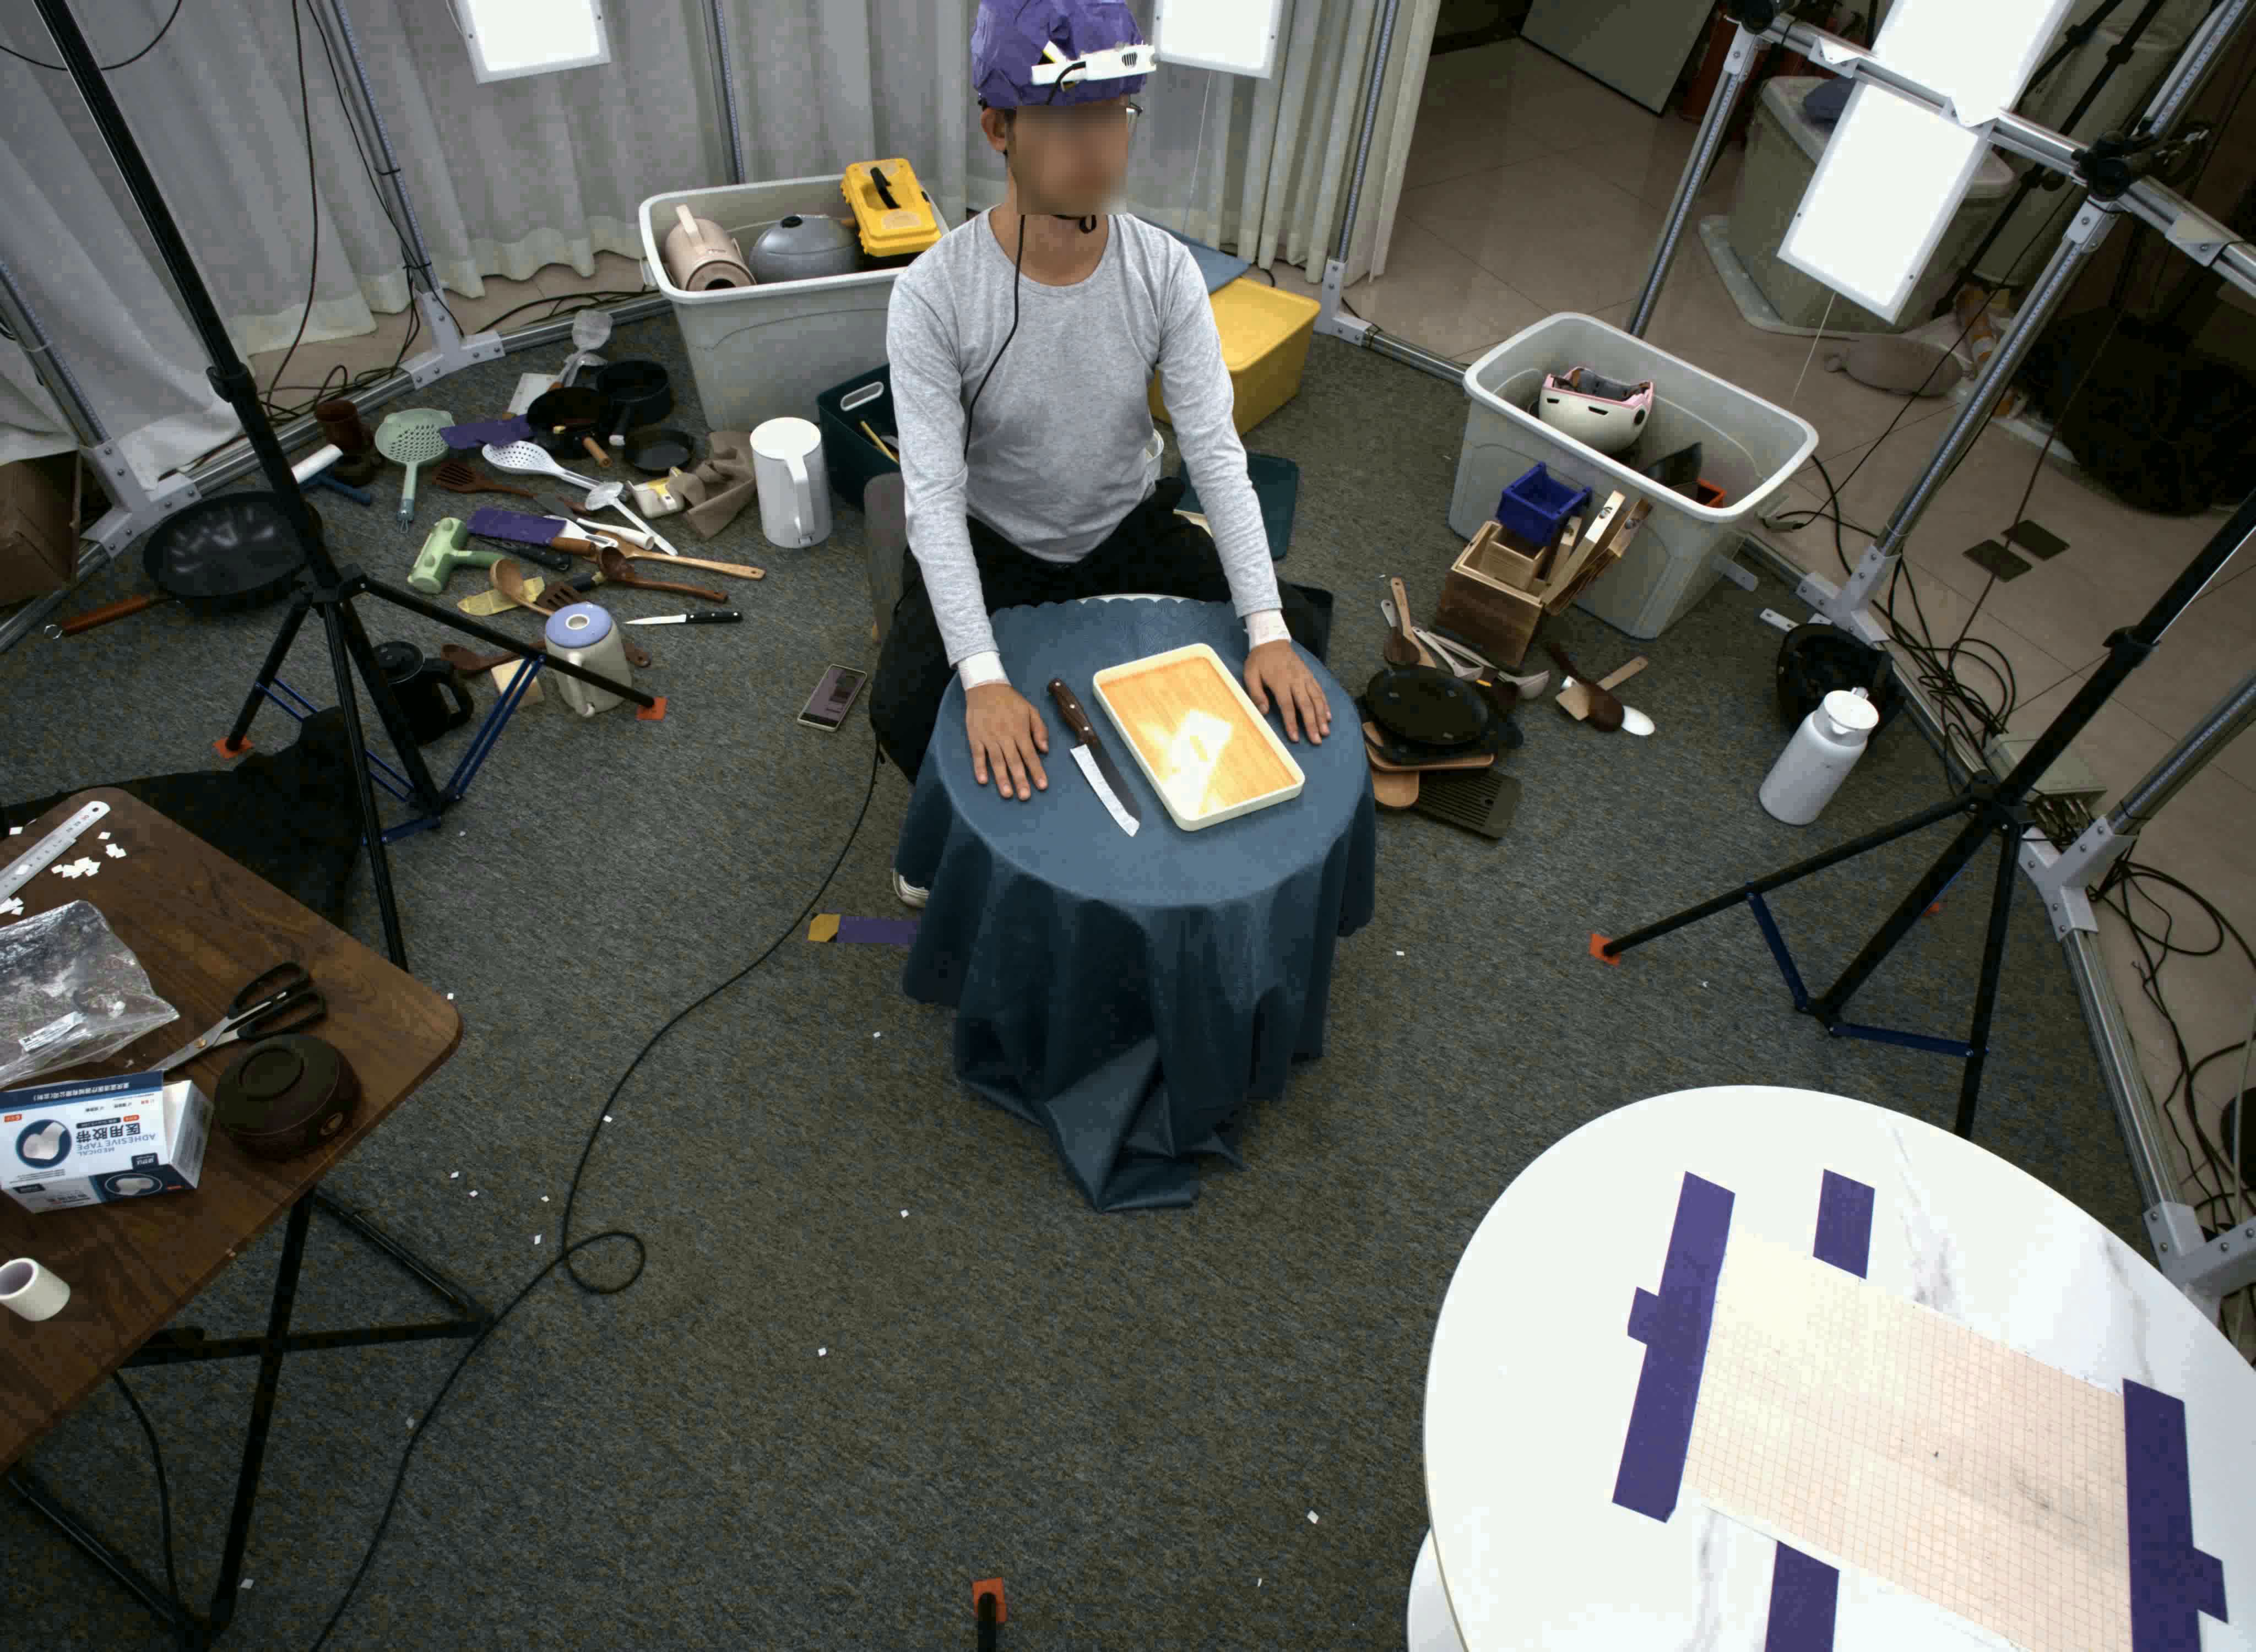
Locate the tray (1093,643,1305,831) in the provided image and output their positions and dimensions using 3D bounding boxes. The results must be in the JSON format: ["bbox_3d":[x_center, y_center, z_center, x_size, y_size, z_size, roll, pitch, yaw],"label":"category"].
[{"bbox_3d":[0.093,-0.129,1.769,0.192,0.027,0.307,-17,52,-18],"label":"tray"}]

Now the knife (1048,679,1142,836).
[{"bbox_3d":[-0.047,-0.095,1.738,0.050,0.019,0.296,-19,55,-13],"label":"knife"}]
